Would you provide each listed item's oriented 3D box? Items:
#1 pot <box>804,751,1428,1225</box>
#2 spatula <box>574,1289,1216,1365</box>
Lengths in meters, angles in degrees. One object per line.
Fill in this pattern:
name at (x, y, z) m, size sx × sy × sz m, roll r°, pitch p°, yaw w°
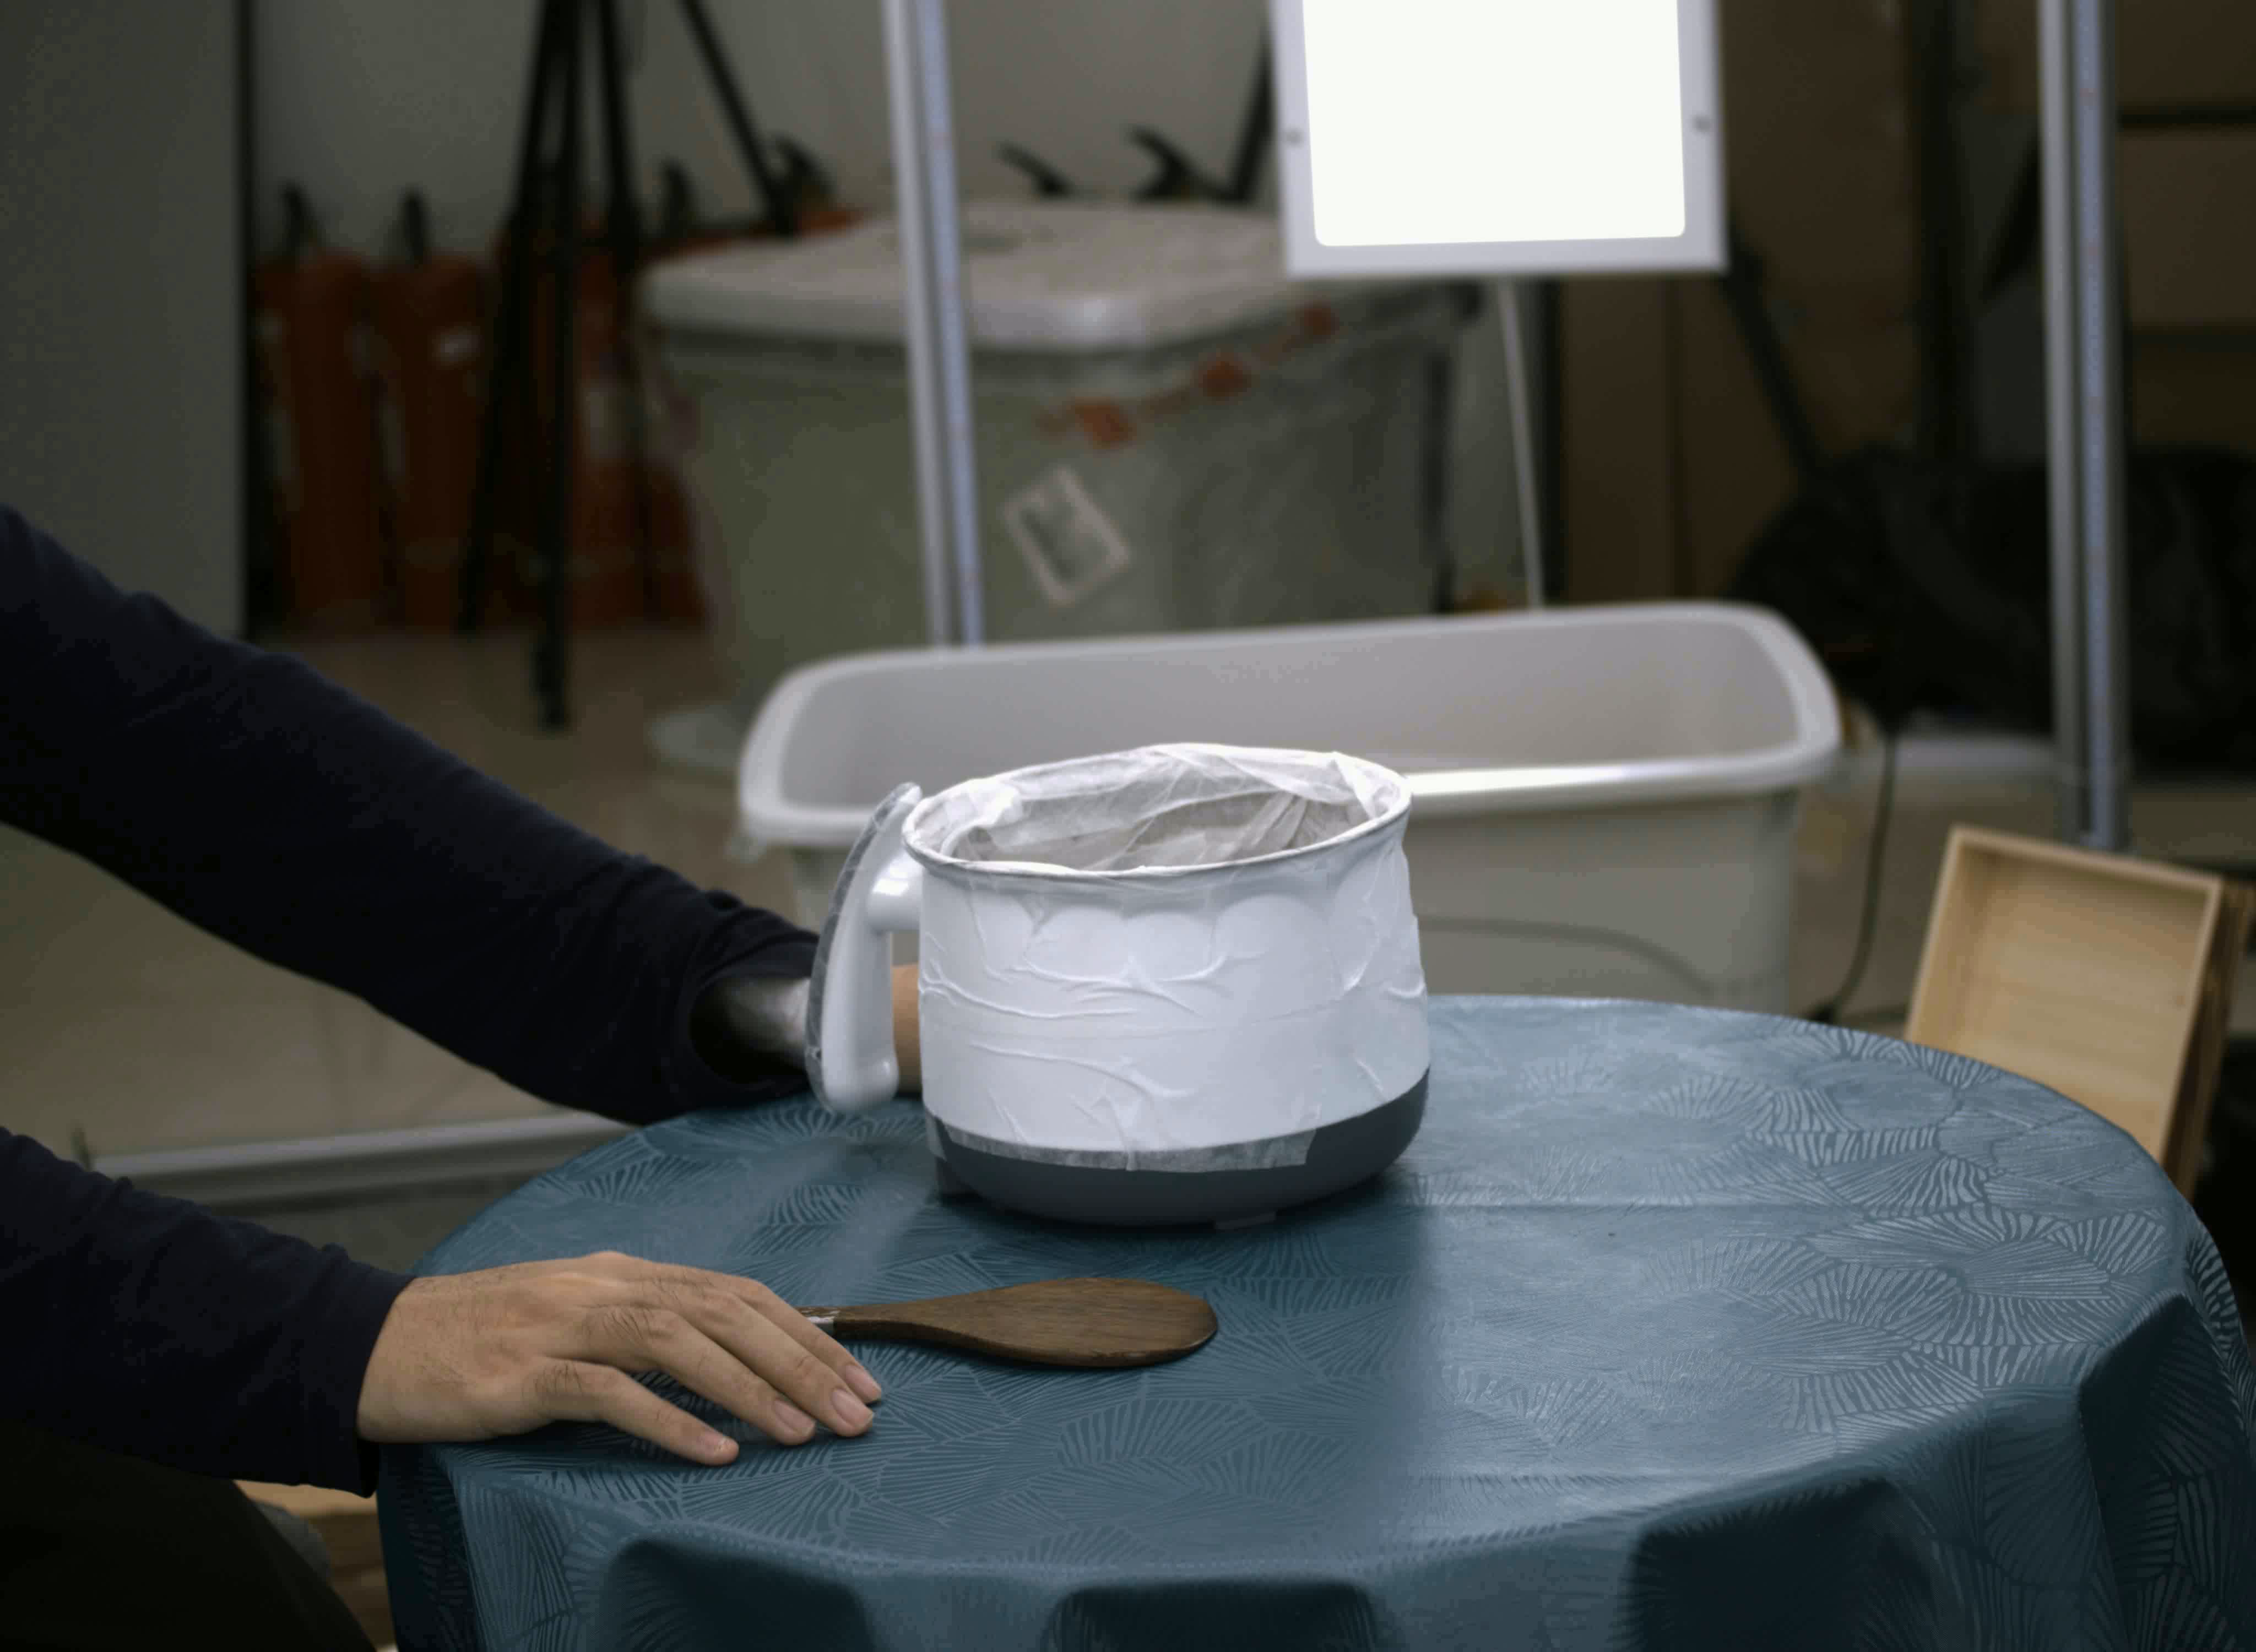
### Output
pot at (-0.010, 0.053, 1.916) m, size 0.238 × 0.137 × 0.175 m, roll 4°, pitch 13°, yaw 27°
spatula at (-0.076, 0.162, 1.777) m, size 0.218 × 0.009 × 0.071 m, roll -2°, pitch 12°, yaw 18°
